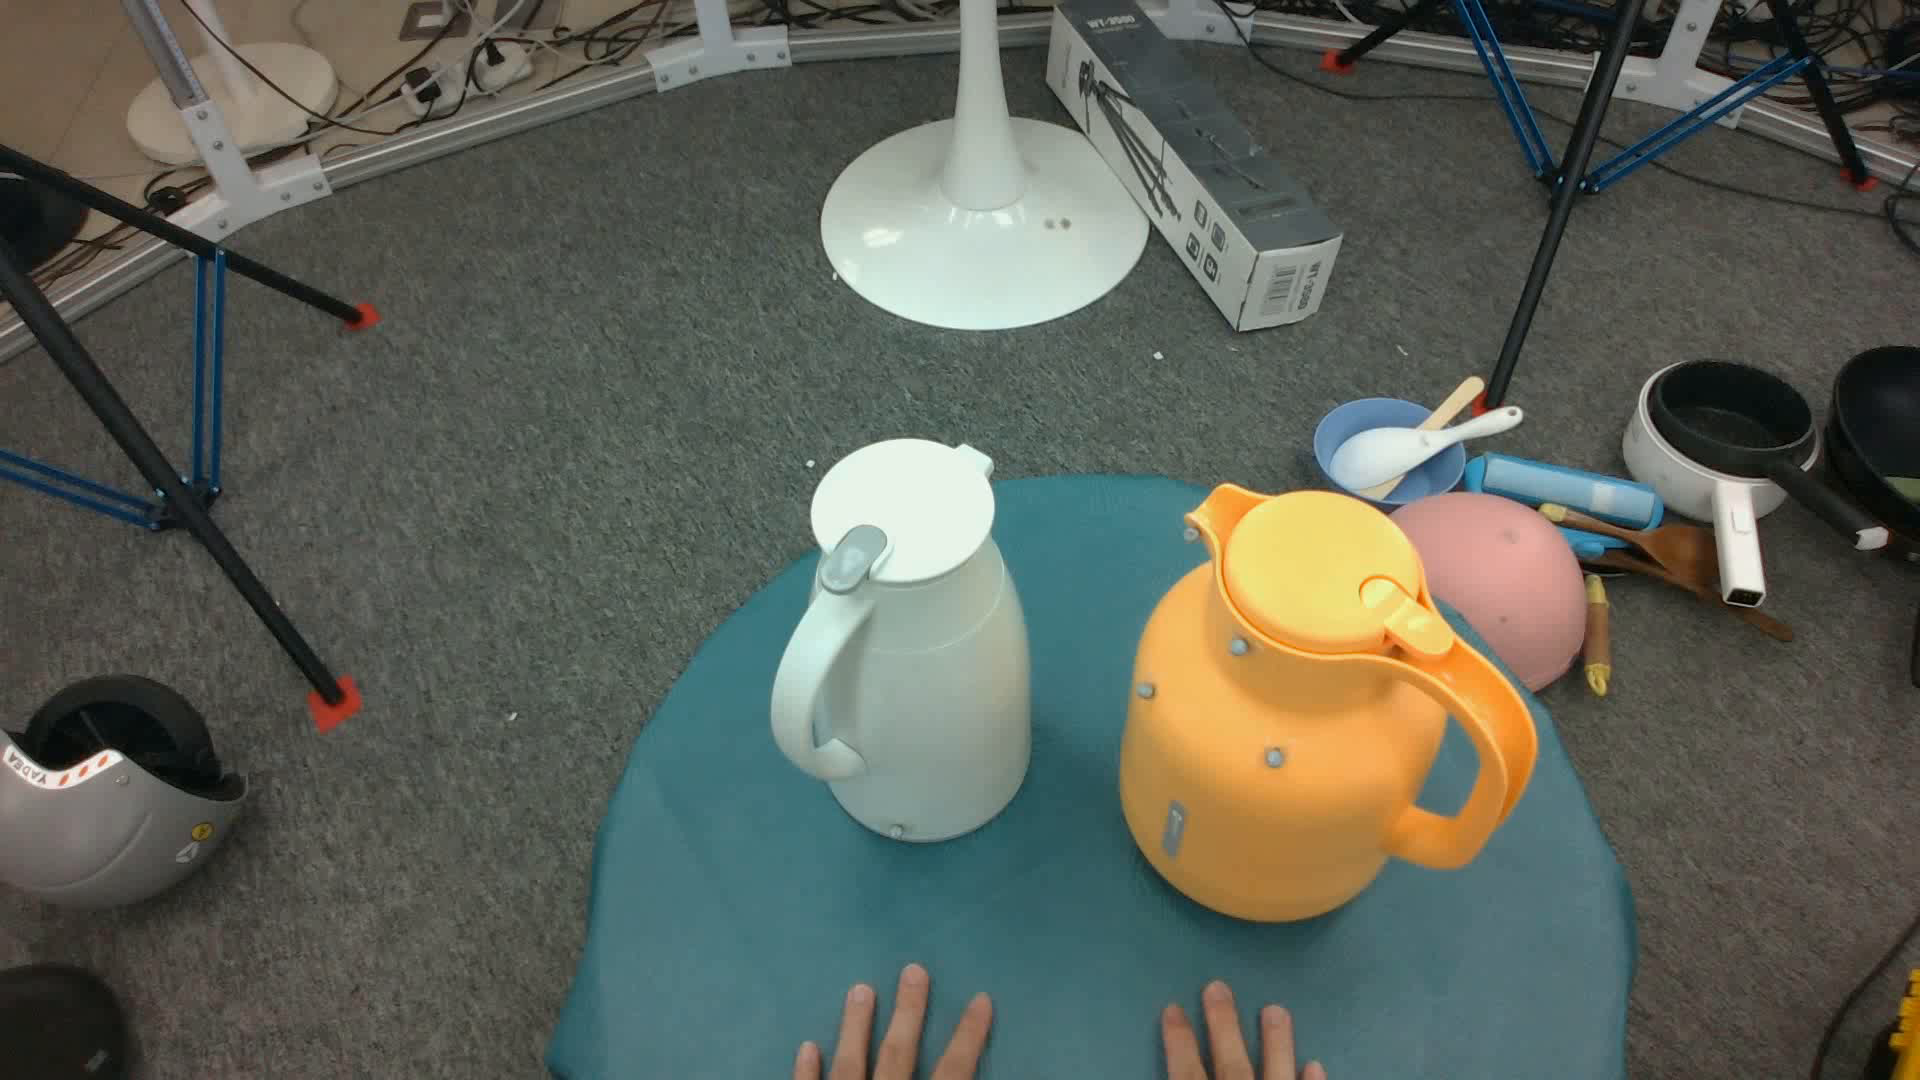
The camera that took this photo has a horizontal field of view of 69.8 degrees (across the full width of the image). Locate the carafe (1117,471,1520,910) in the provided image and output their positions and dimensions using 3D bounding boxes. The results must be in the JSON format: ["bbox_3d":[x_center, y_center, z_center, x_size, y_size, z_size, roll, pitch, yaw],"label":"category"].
[{"bbox_3d":[0.181,0.091,0.725,0.164,0.259,0.202,-38,59,-22],"label":"carafe"}]

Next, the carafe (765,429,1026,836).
[{"bbox_3d":[-0.039,0.063,0.760,0.132,0.247,0.168,29,59,22],"label":"carafe"}]
